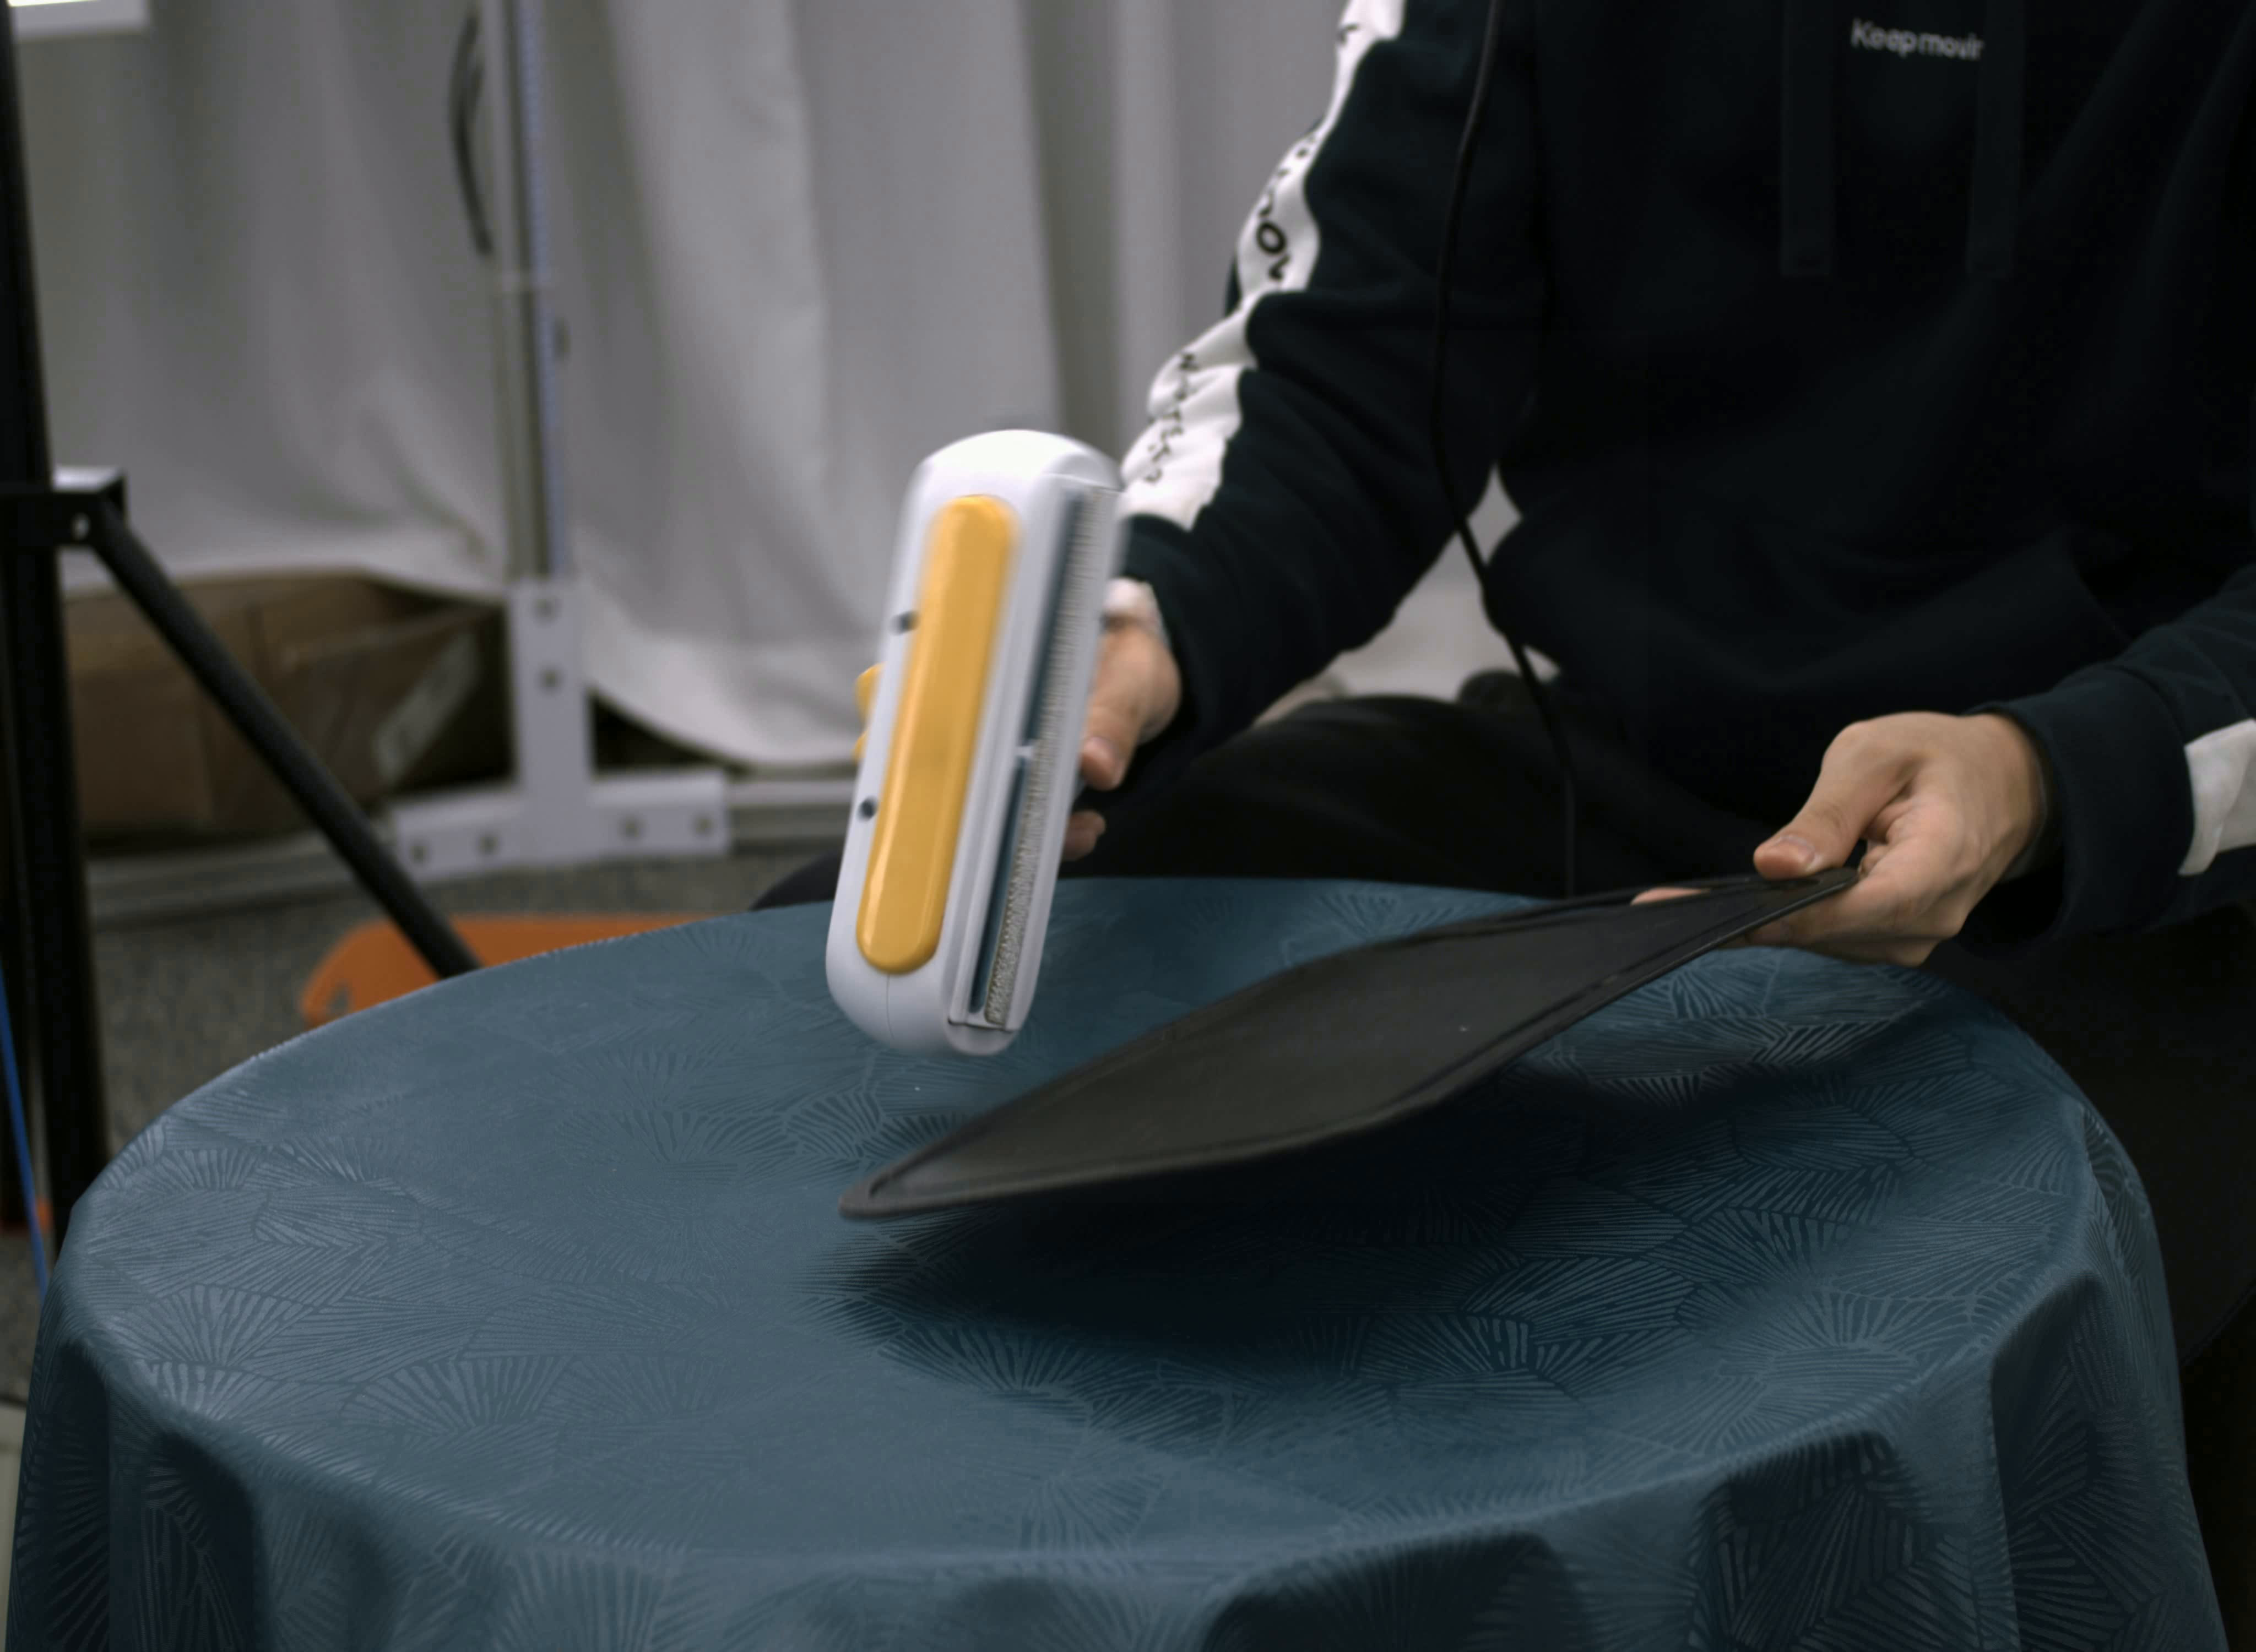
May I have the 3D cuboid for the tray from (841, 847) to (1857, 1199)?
[{"bbox_3d":[0.073,0.053,1.549,0.215,0.010,0.319,-11,8,39],"label":"tray"}]

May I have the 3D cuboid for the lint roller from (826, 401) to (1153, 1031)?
[{"bbox_3d":[-0.030,-0.026,1.673,0.075,0.194,0.189,9,-6,20],"label":"lint roller"}]
